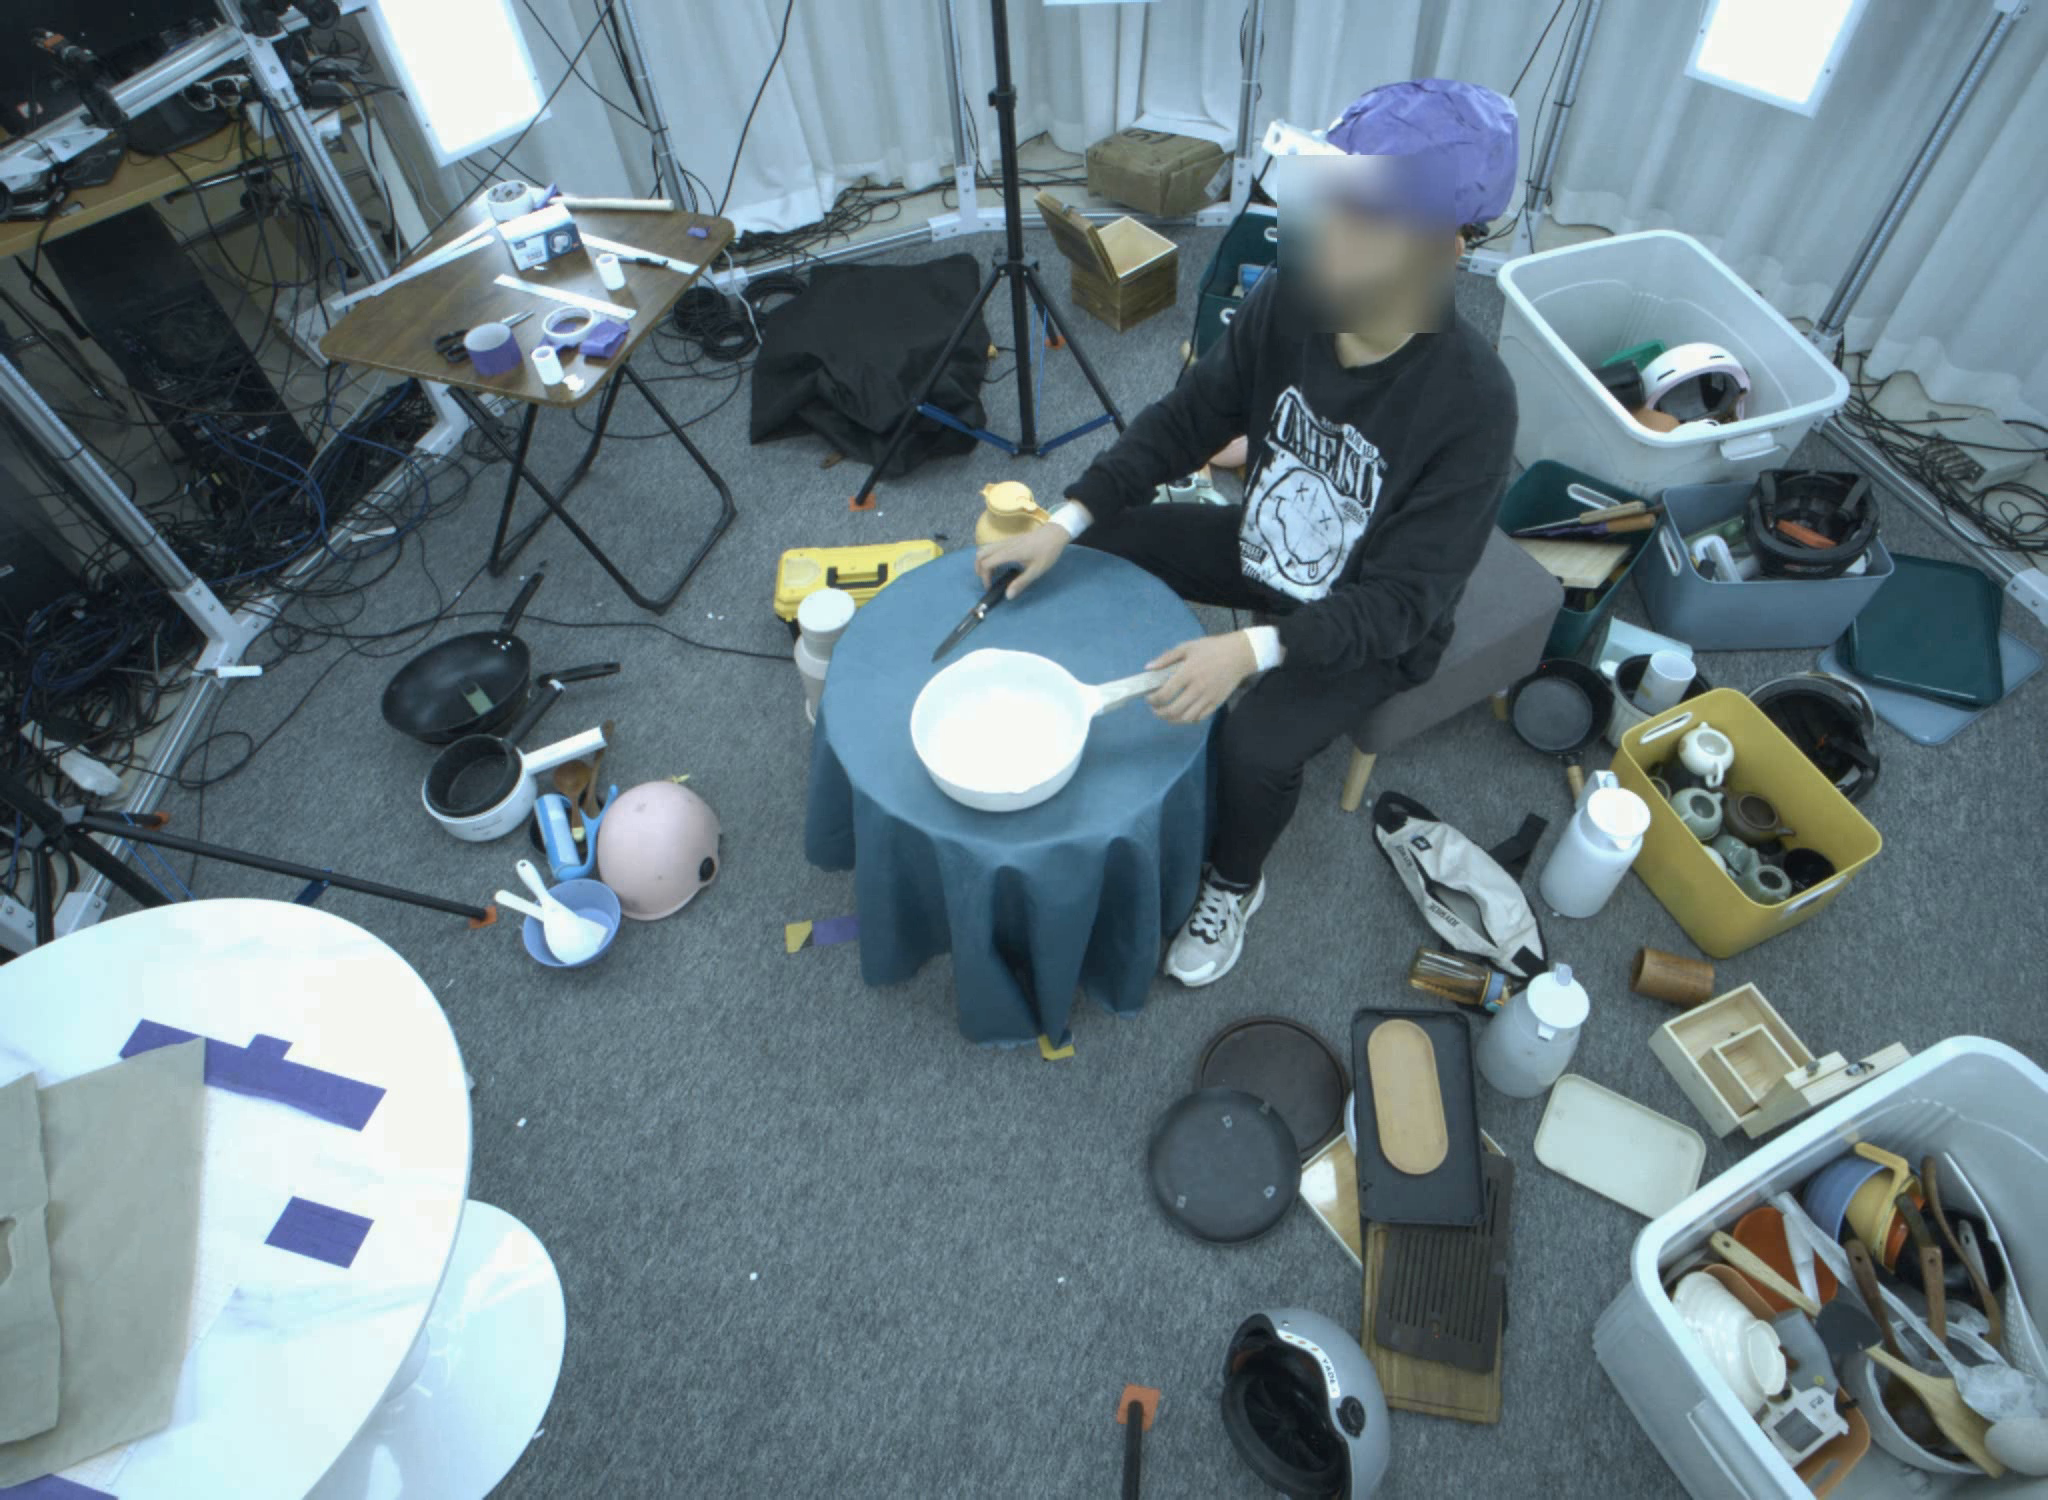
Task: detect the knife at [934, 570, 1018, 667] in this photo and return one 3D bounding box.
[{"bbox_3d":[-0.078,-0.209,1.930,0.026,0.017,0.226,37,63,6],"label":"knife"}]

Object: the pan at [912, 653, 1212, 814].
[{"bbox_3d":[0.059,-0.043,1.751,0.437,0.103,0.259,-13,53,-8],"label":"pan"}]
